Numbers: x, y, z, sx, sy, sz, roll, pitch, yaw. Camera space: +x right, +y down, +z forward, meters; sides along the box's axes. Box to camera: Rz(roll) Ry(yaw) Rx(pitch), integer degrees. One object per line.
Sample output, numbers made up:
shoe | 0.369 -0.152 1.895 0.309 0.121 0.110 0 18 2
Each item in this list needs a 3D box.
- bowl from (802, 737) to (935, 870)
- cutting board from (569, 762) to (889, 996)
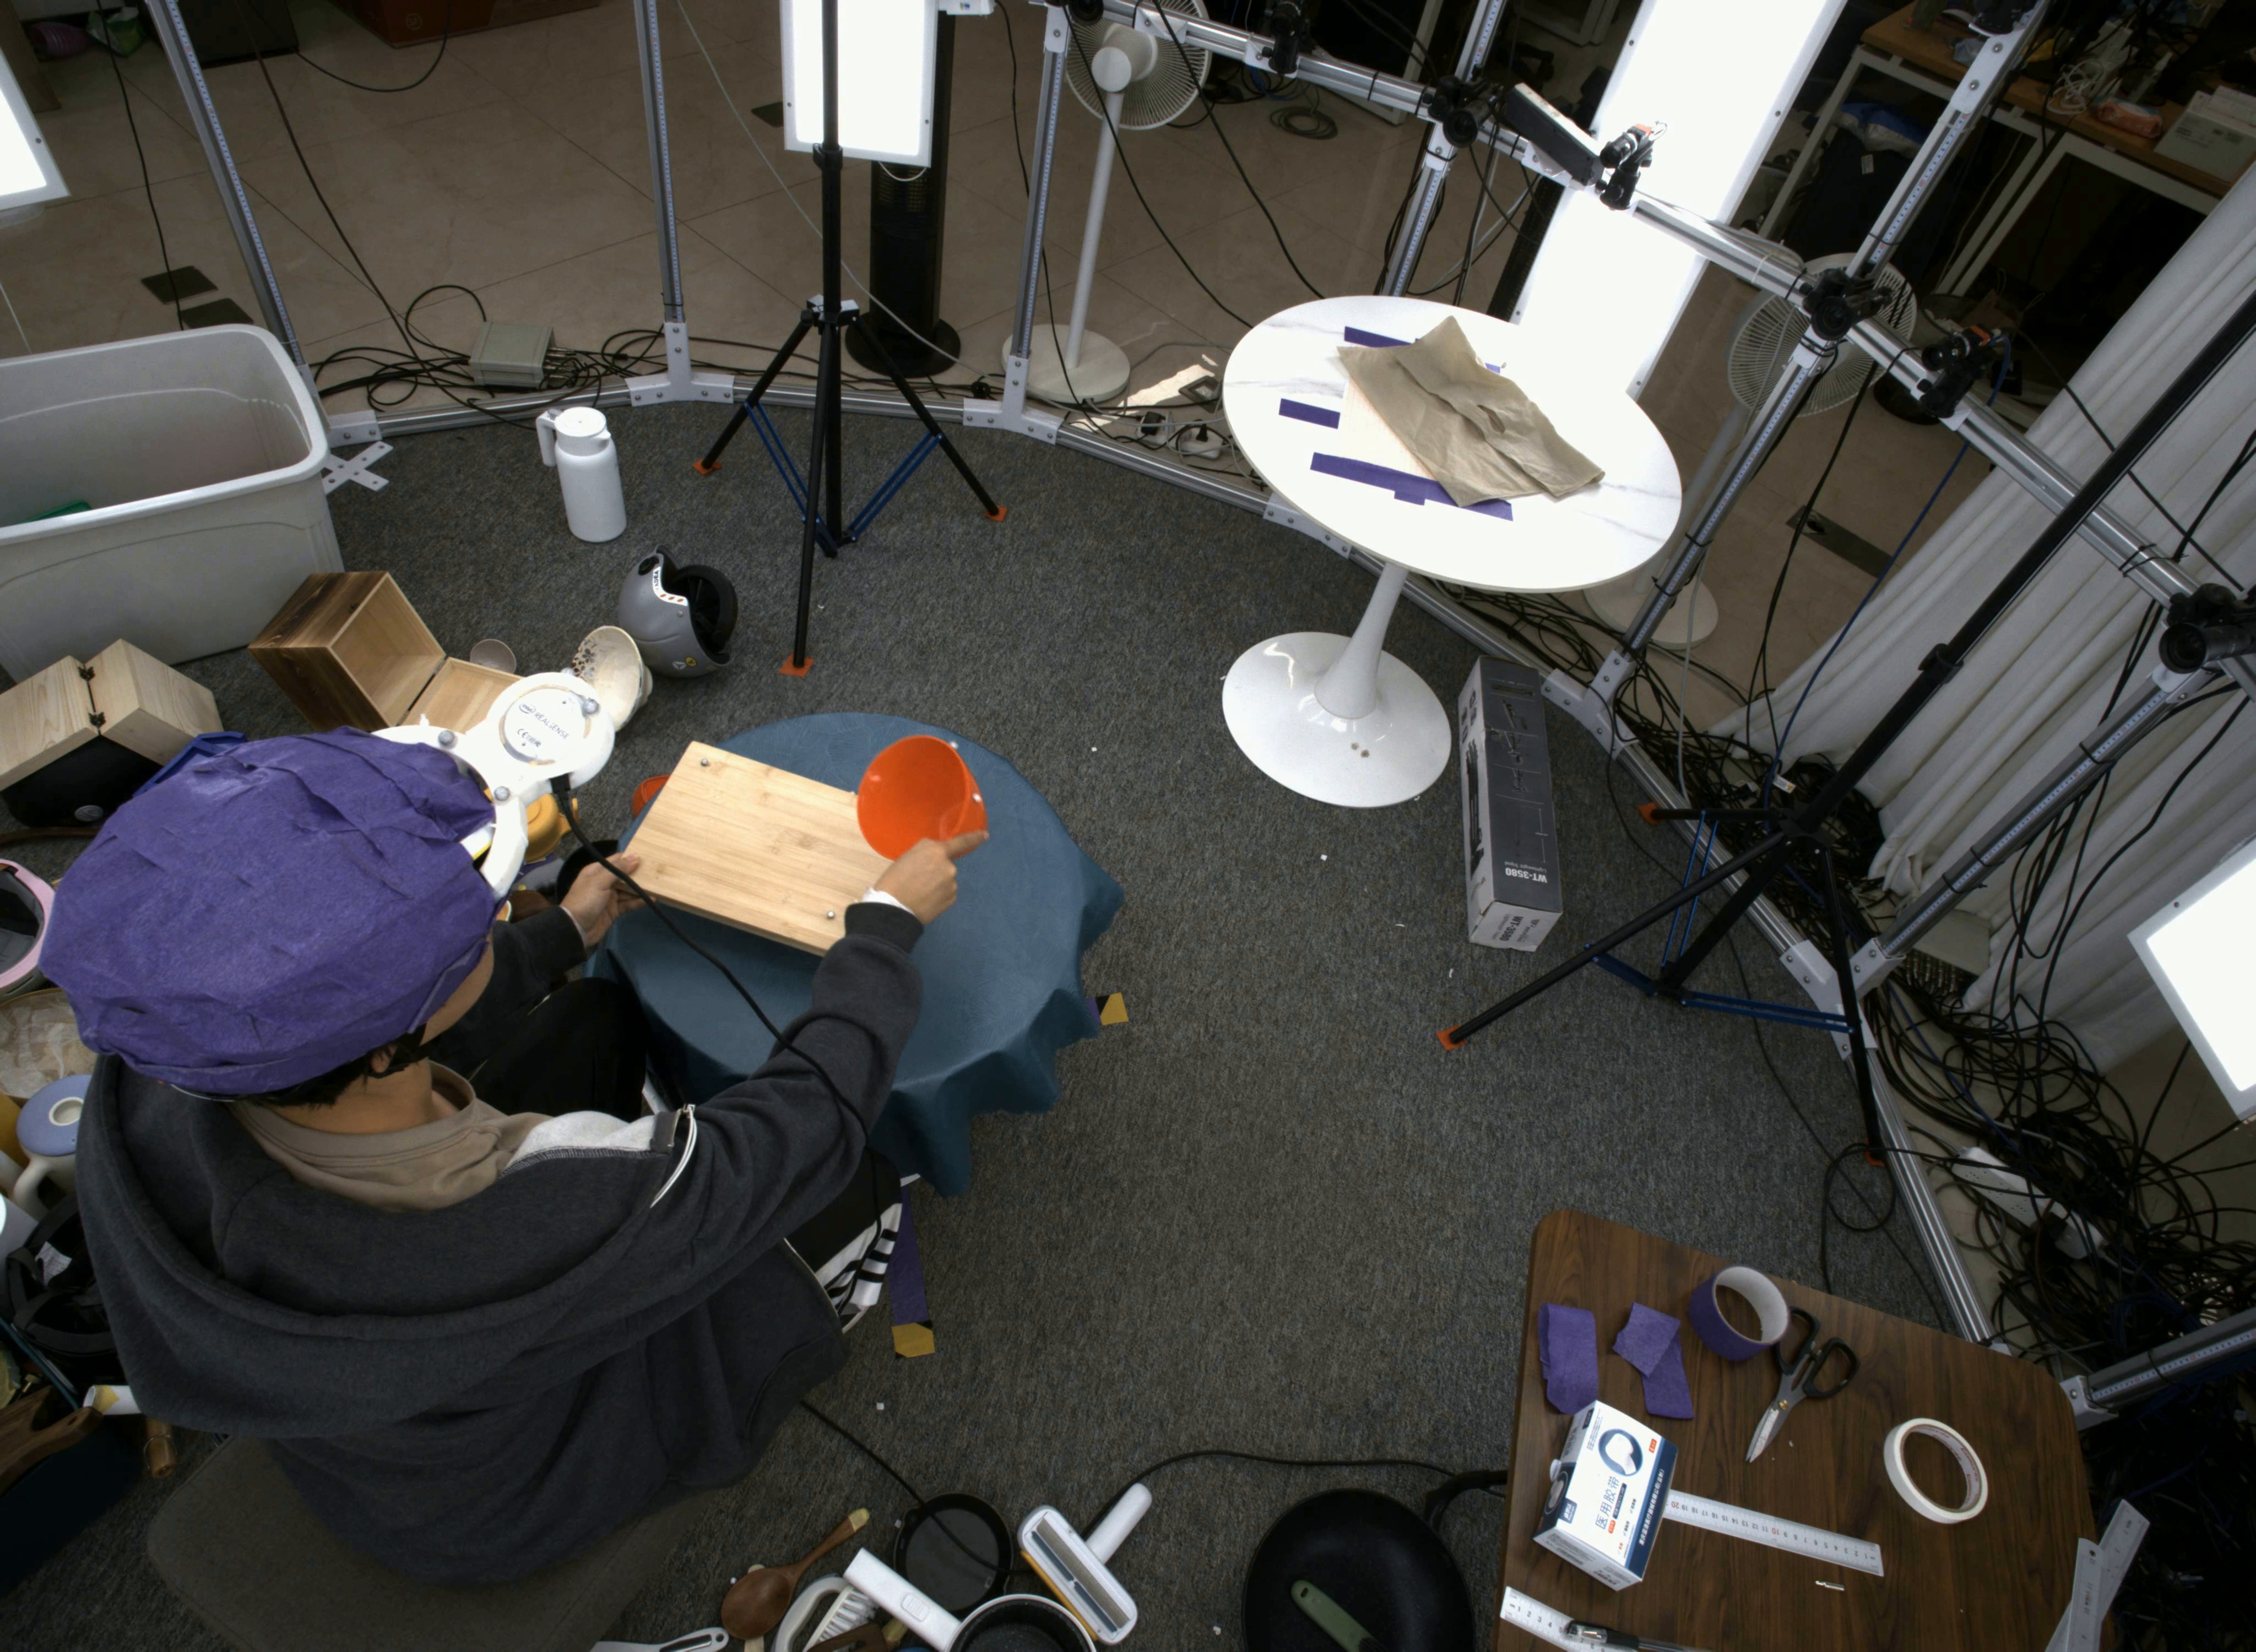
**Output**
bowl | -0.284 -0.014 1.480 0.144 0.108 0.147 -10 69 28
cutting board | -0.478 0.058 1.582 0.348 0.024 0.247 16 50 -8
